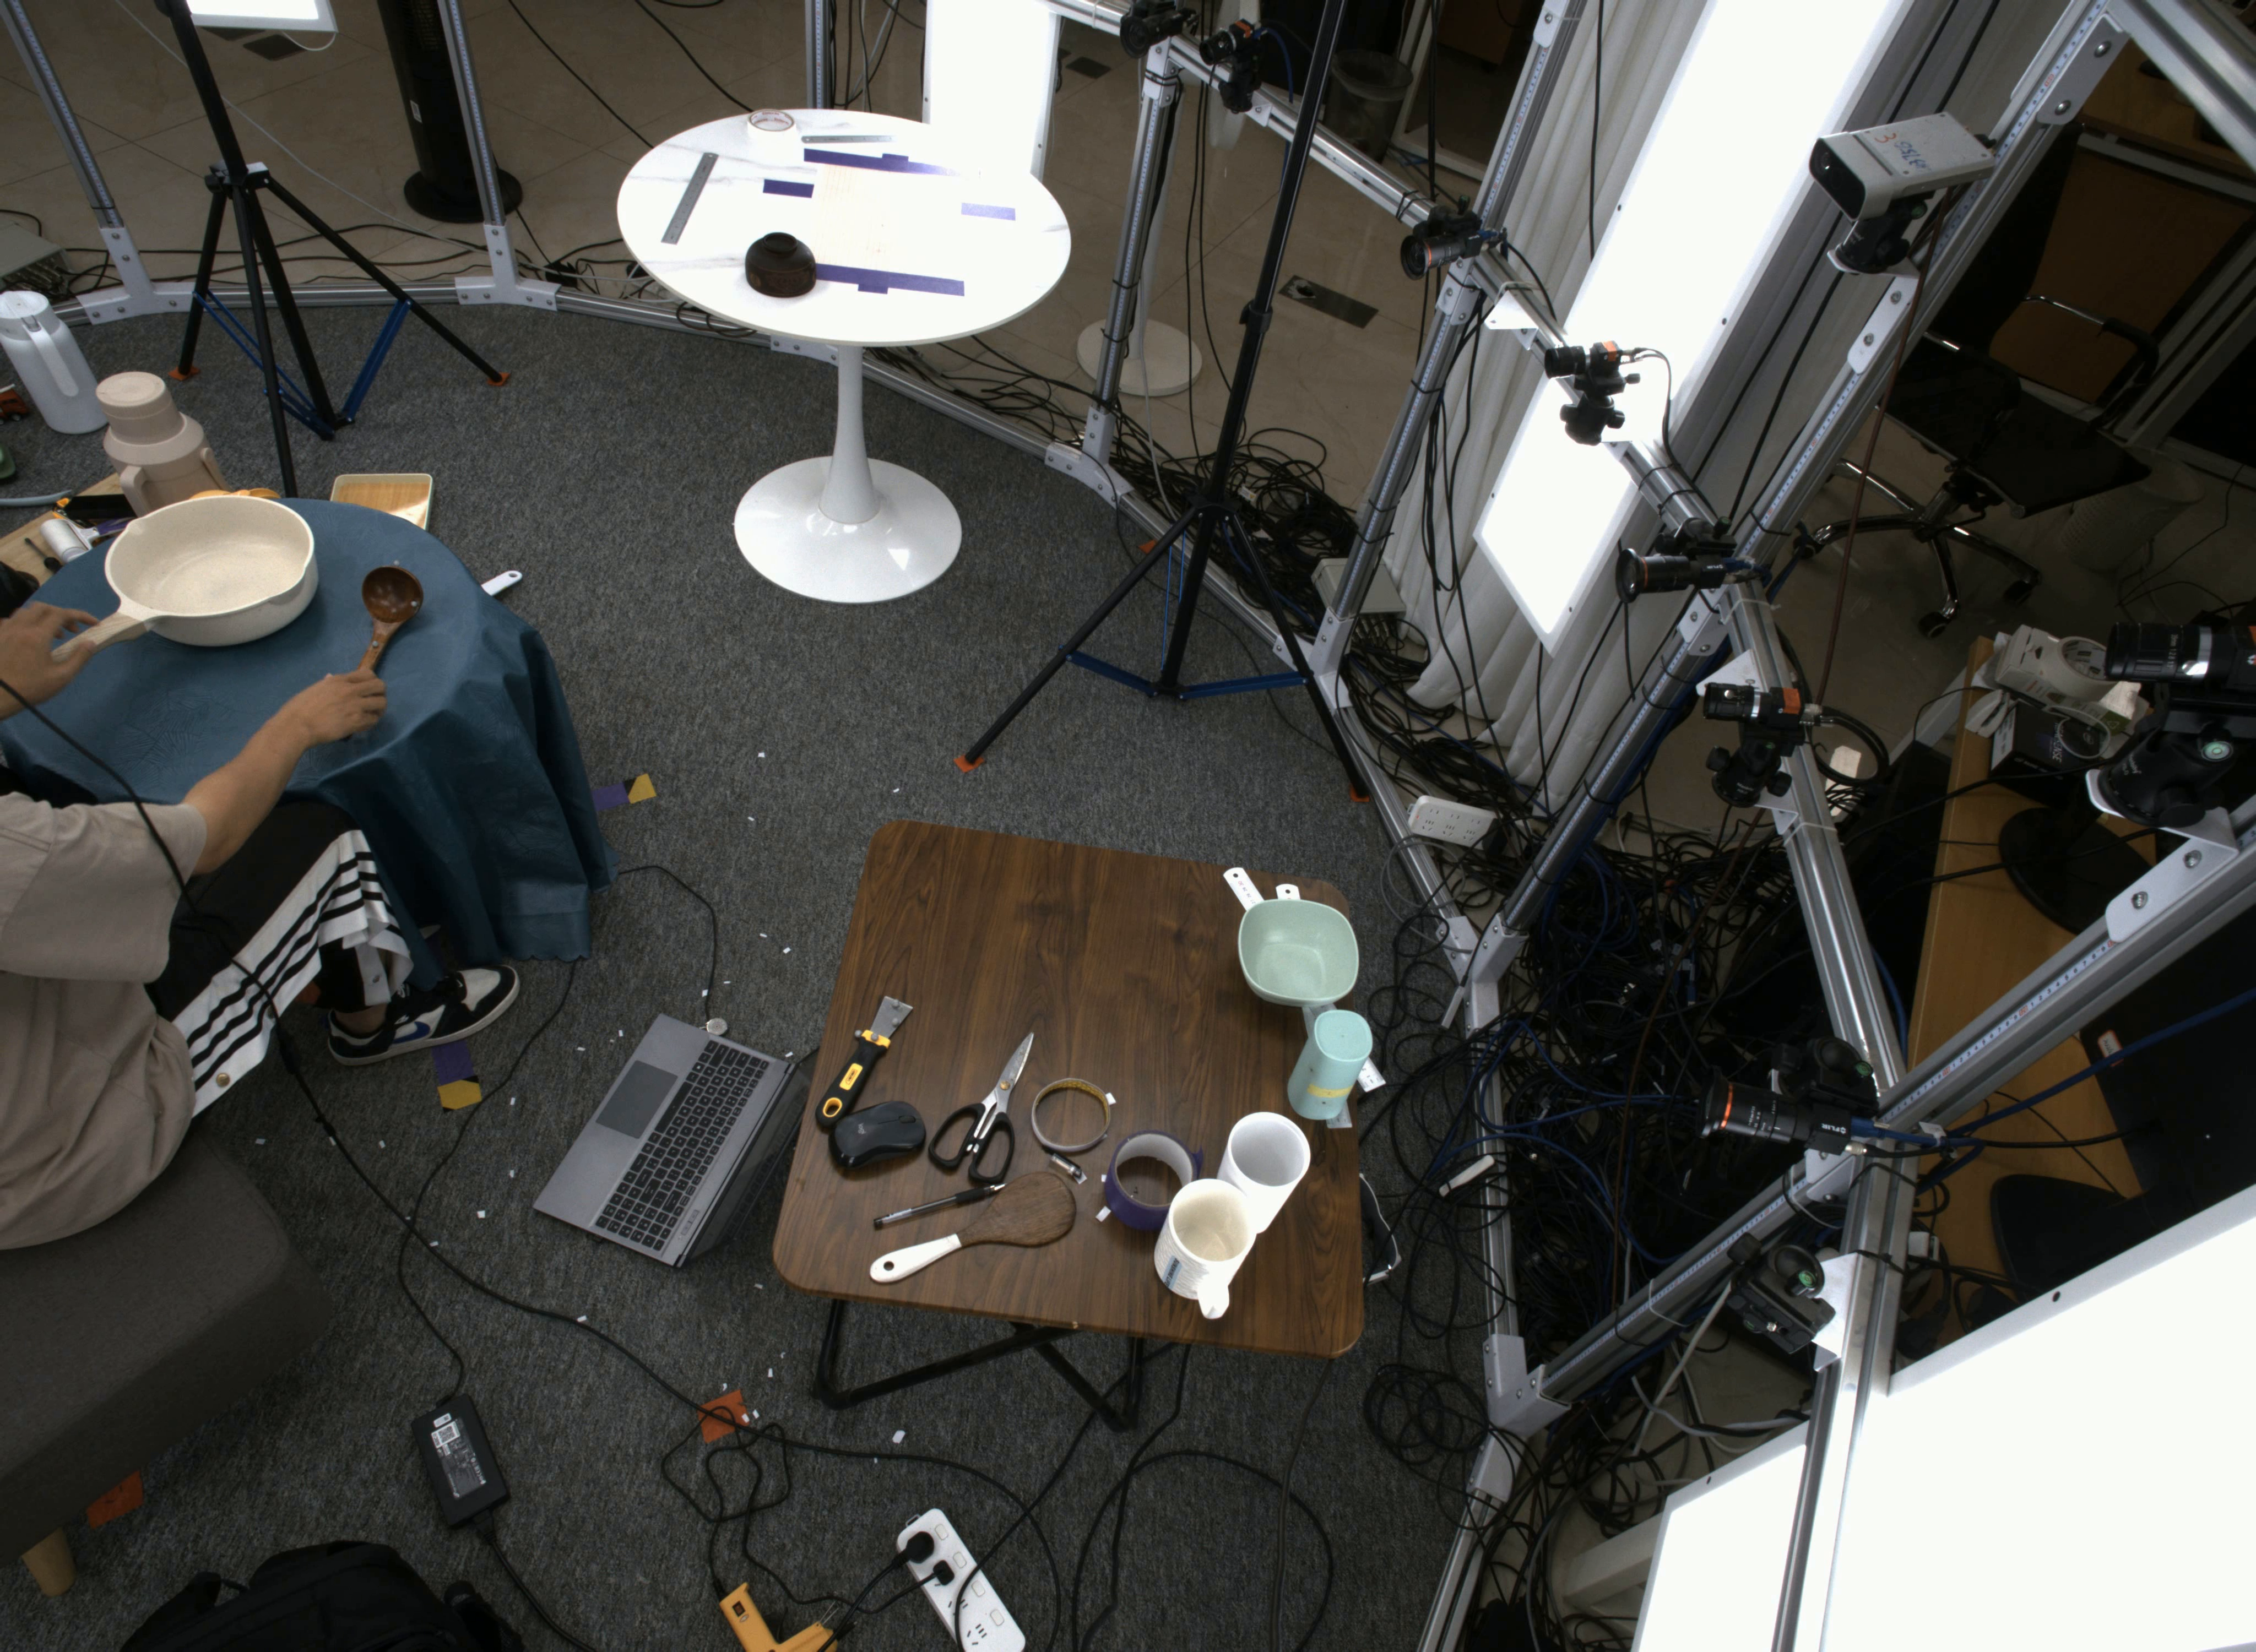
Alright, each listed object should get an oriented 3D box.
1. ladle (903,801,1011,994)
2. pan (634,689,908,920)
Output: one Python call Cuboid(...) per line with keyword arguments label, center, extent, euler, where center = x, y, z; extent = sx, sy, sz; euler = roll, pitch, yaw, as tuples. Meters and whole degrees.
Cuboid(label="ladle", center=(-0.223, 0.085, 1.669), extent=(0.081, 0.078, 0.271), euler=(19, 51, 1))
Cuboid(label="pan", center=(-0.468, -0.009, 1.667), extent=(0.259, 0.104, 0.434), euler=(33, 54, 11))
